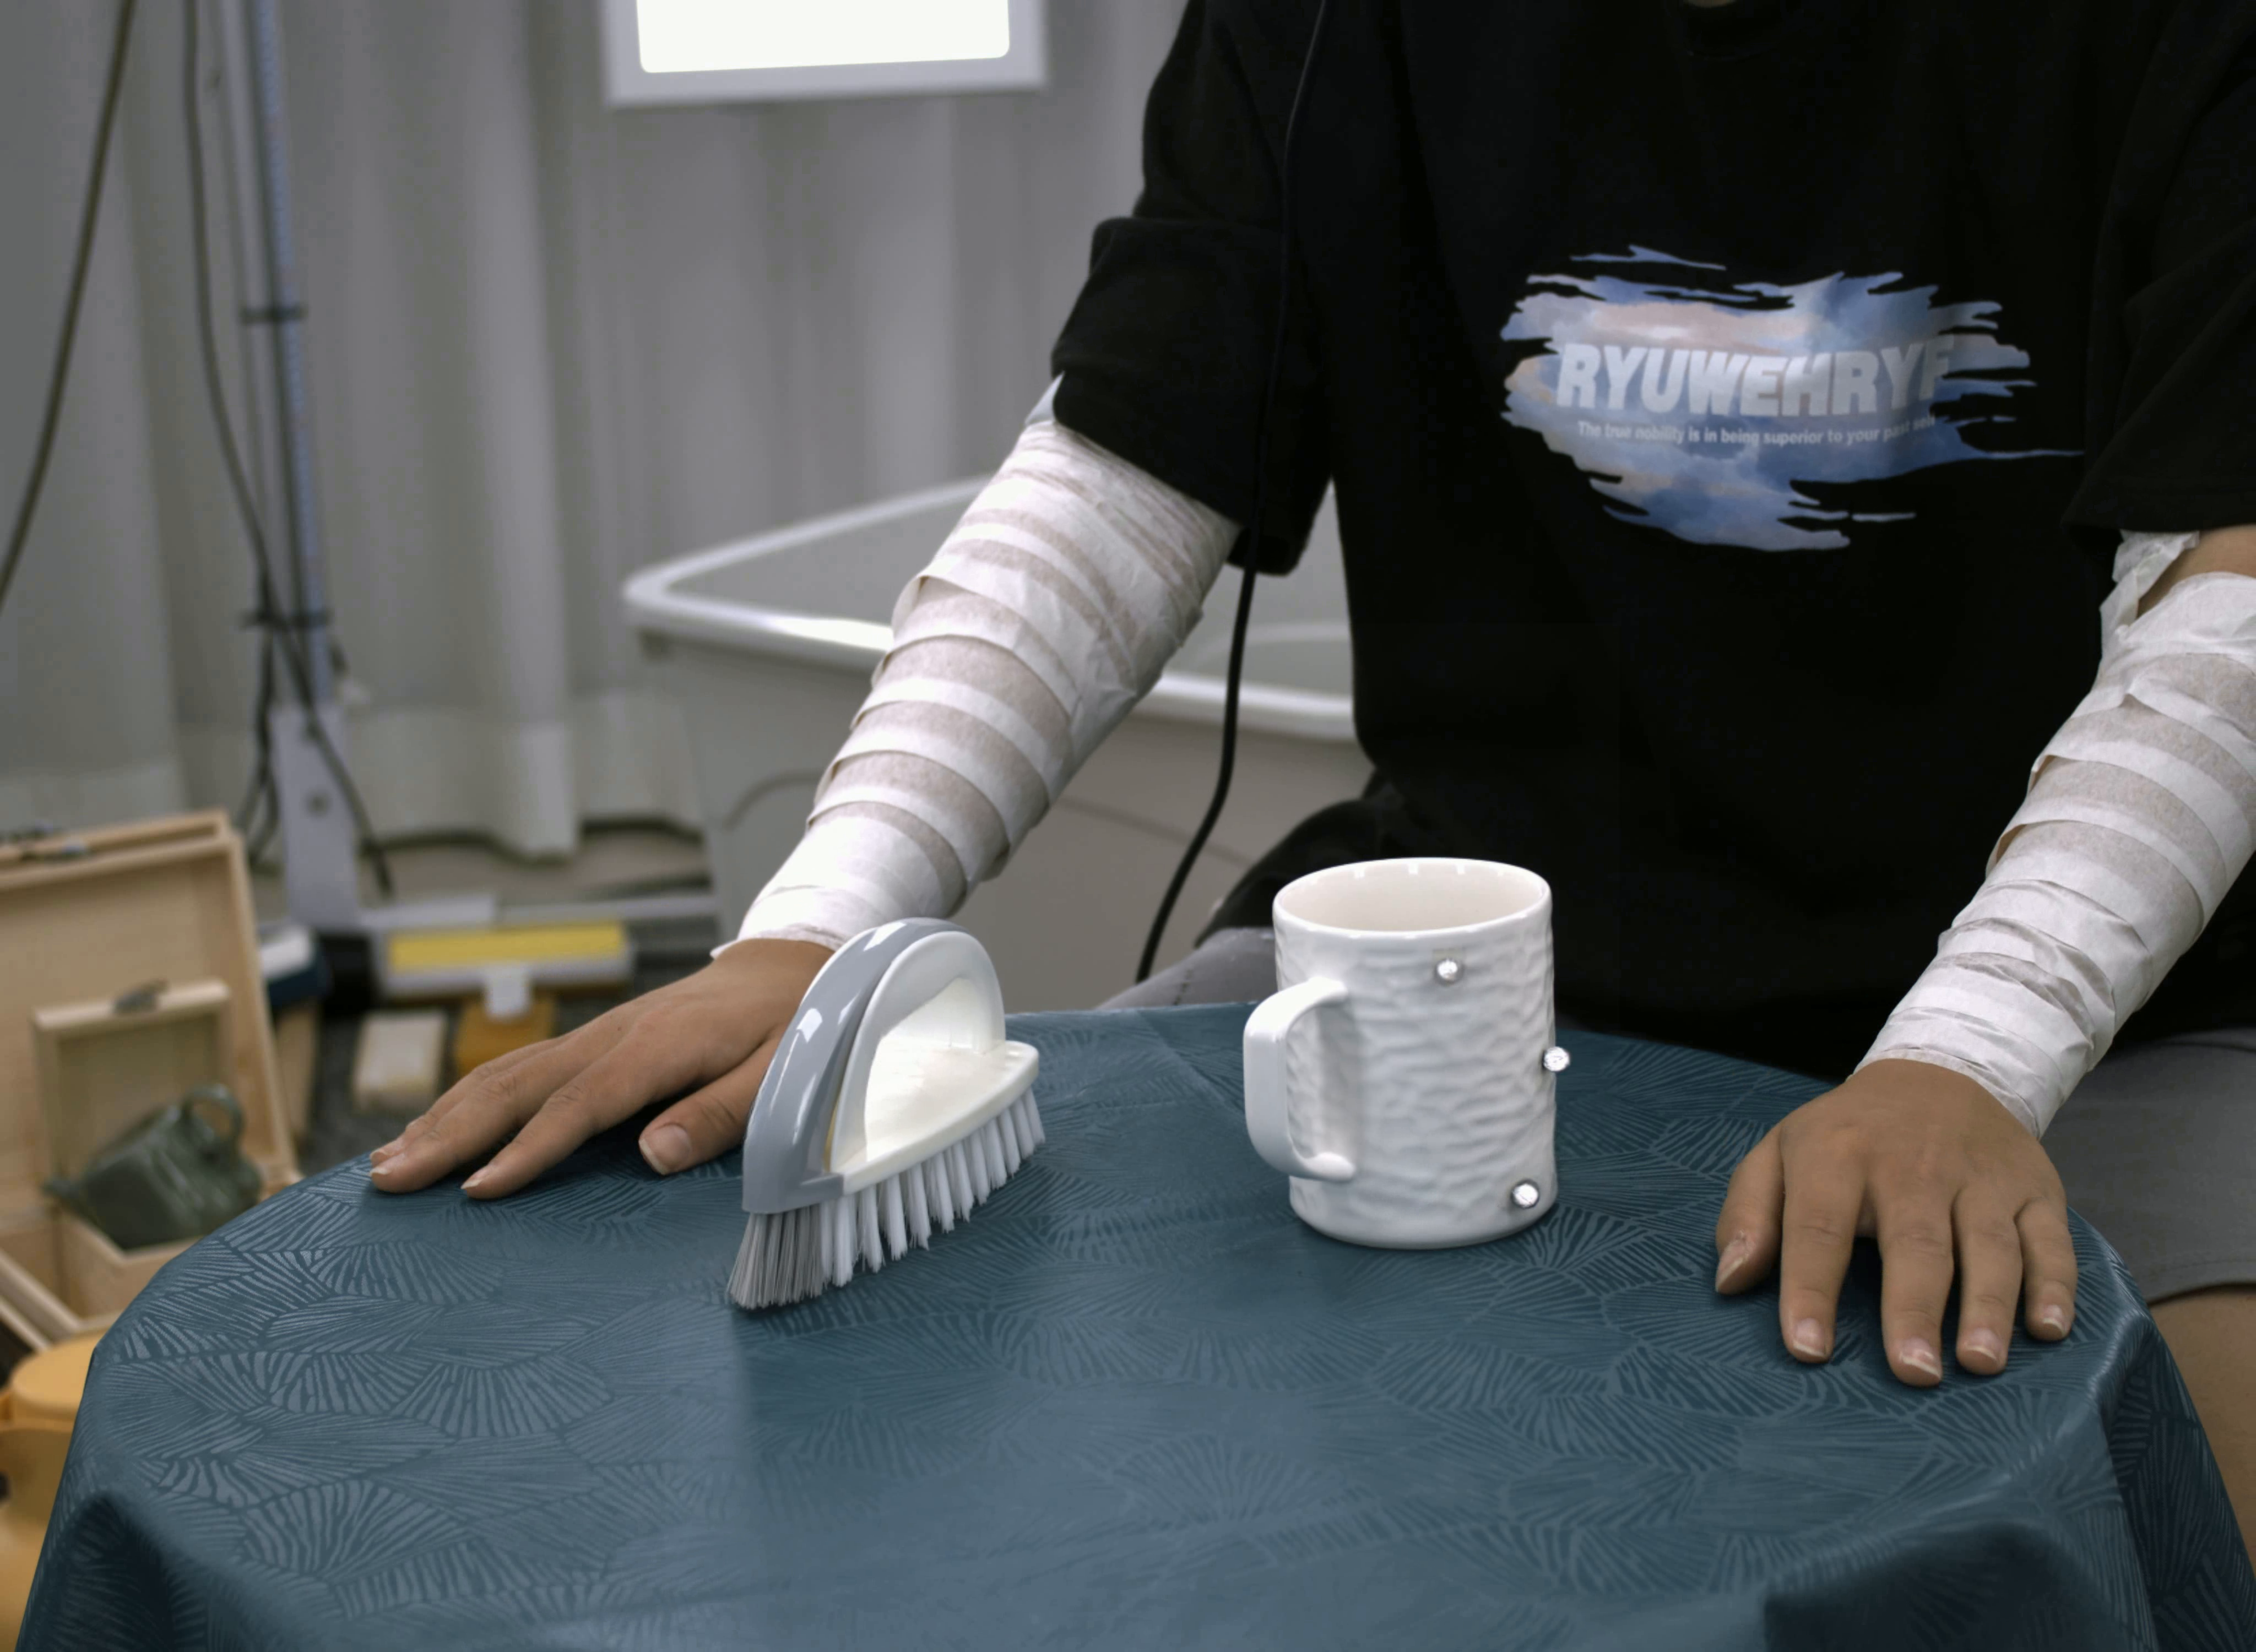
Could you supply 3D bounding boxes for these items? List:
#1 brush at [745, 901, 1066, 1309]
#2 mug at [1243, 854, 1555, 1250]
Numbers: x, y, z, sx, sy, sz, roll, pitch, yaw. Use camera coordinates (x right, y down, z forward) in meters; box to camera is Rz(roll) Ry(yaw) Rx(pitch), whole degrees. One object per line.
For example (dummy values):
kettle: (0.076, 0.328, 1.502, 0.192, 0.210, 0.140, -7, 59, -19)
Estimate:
brush: (-0.078, 0.080, 1.681, 0.061, 0.094, 0.176, -2, 15, 23)
mug: (0.077, 0.073, 1.658, 0.085, 0.101, 0.118, 8, 19, 39)
